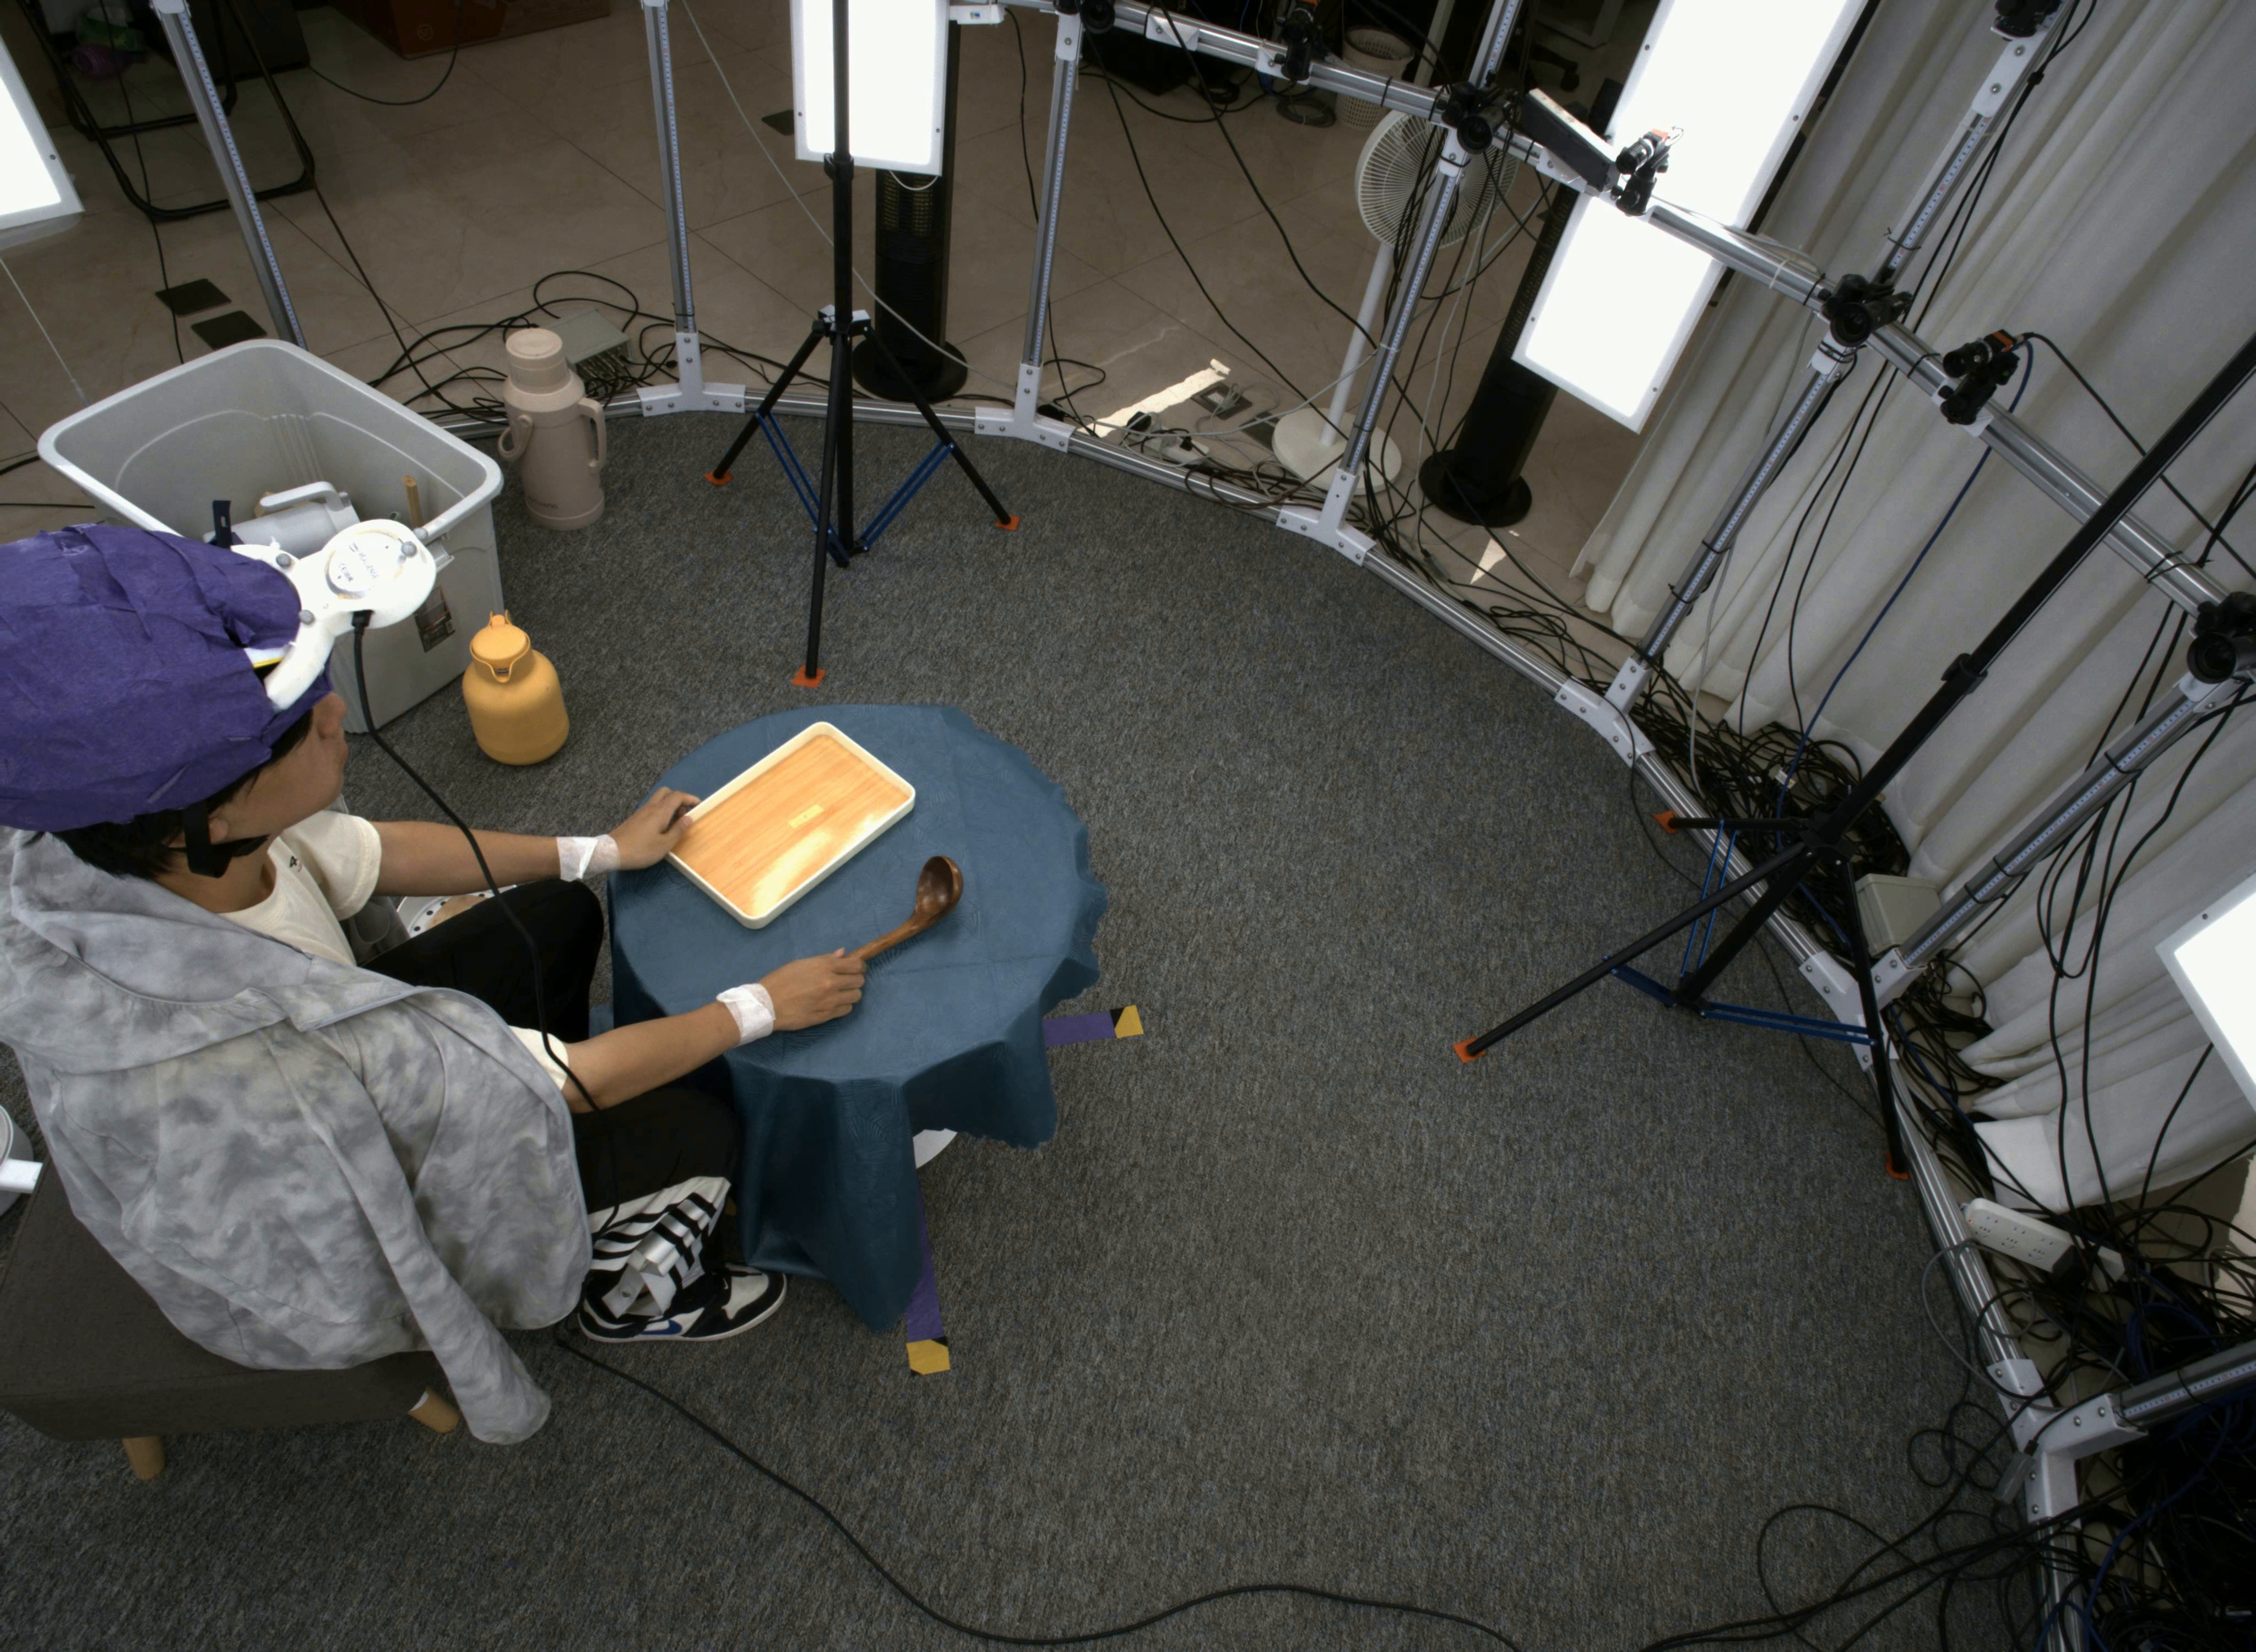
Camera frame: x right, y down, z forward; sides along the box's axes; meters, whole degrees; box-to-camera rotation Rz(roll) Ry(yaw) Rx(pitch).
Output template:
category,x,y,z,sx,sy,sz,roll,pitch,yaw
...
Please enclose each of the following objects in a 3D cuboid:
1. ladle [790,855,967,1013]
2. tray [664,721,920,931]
category,x,y,z,sx,sy,sz,roll,pitch,yaw
ladle,-0.312,0.126,1.611,0.275,0.079,0.079,-32,23,-31
tray,-0.439,-0.008,1.711,0.188,0.028,0.300,37,54,14
